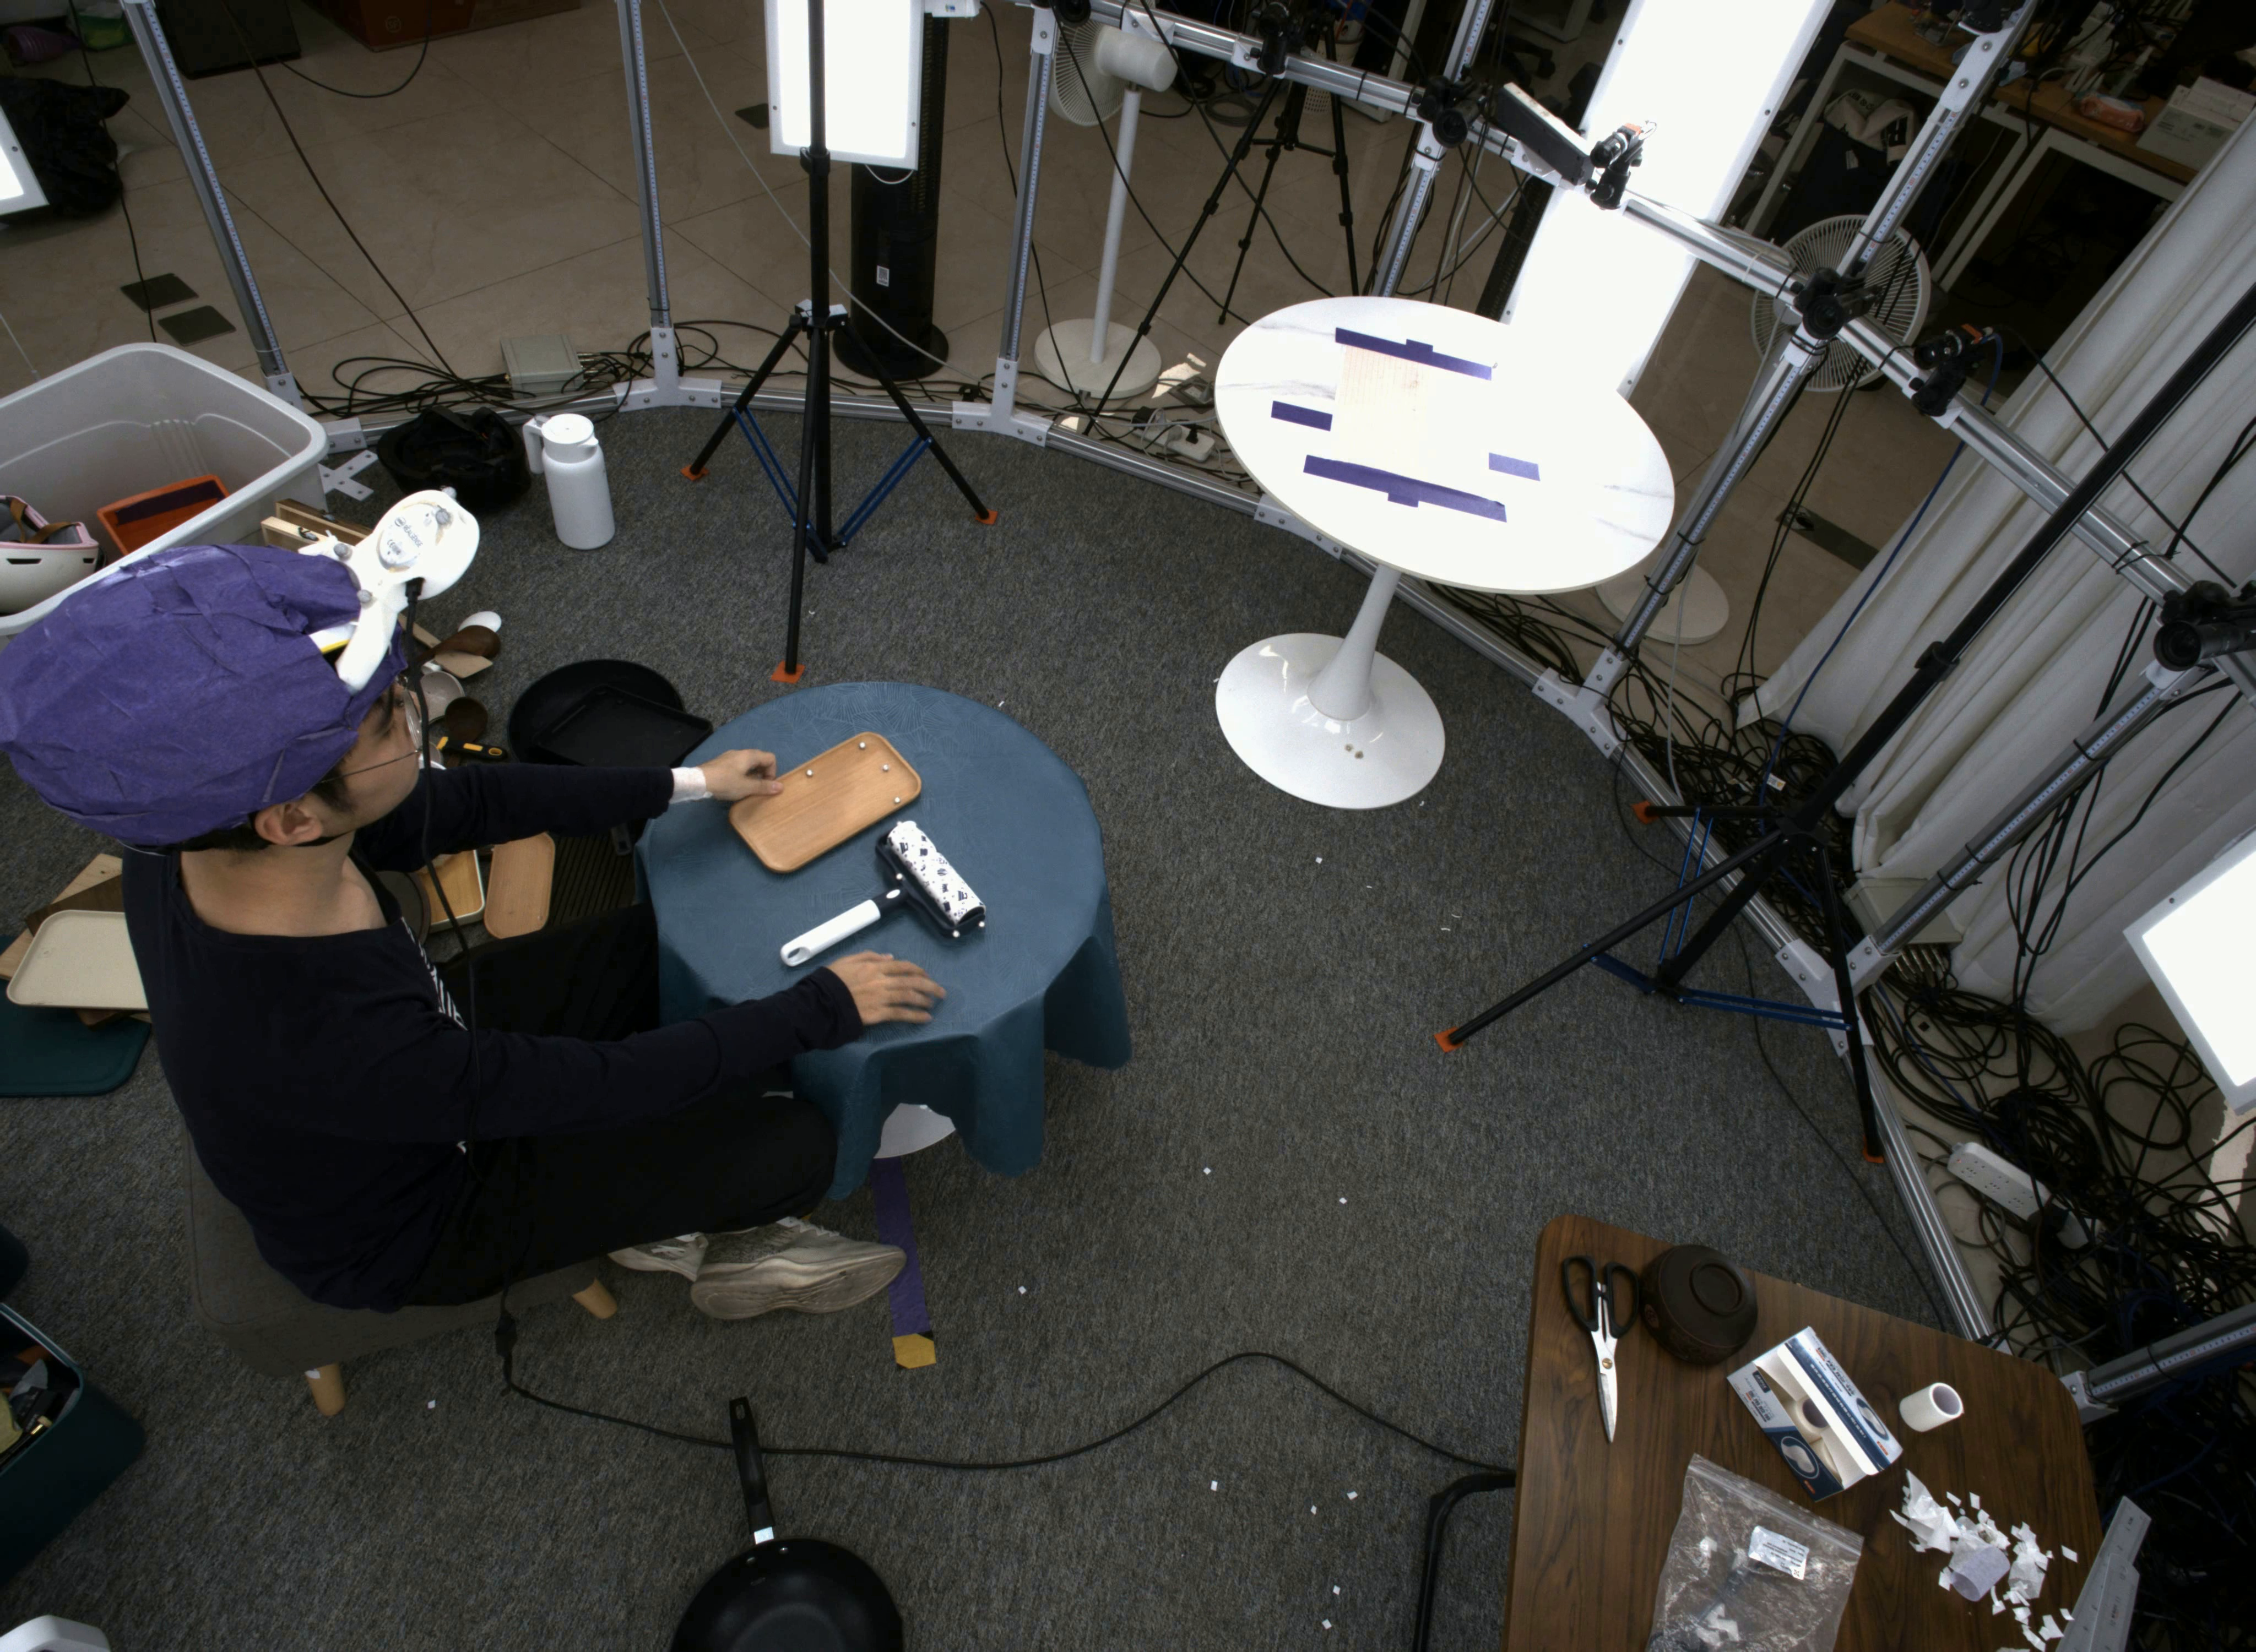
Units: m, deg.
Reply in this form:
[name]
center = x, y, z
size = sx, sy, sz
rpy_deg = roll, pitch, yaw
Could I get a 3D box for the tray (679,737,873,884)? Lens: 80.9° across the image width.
[tray]
center = -0.466, -0.024, 1.725
size = 0.128, 0.023, 0.251
rpy_deg = 44, 57, 15

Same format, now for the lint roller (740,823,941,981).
[lint roller]
center = -0.380, 0.114, 1.636
size = 0.247, 0.051, 0.172
rpy_deg = -35, 69, -29
